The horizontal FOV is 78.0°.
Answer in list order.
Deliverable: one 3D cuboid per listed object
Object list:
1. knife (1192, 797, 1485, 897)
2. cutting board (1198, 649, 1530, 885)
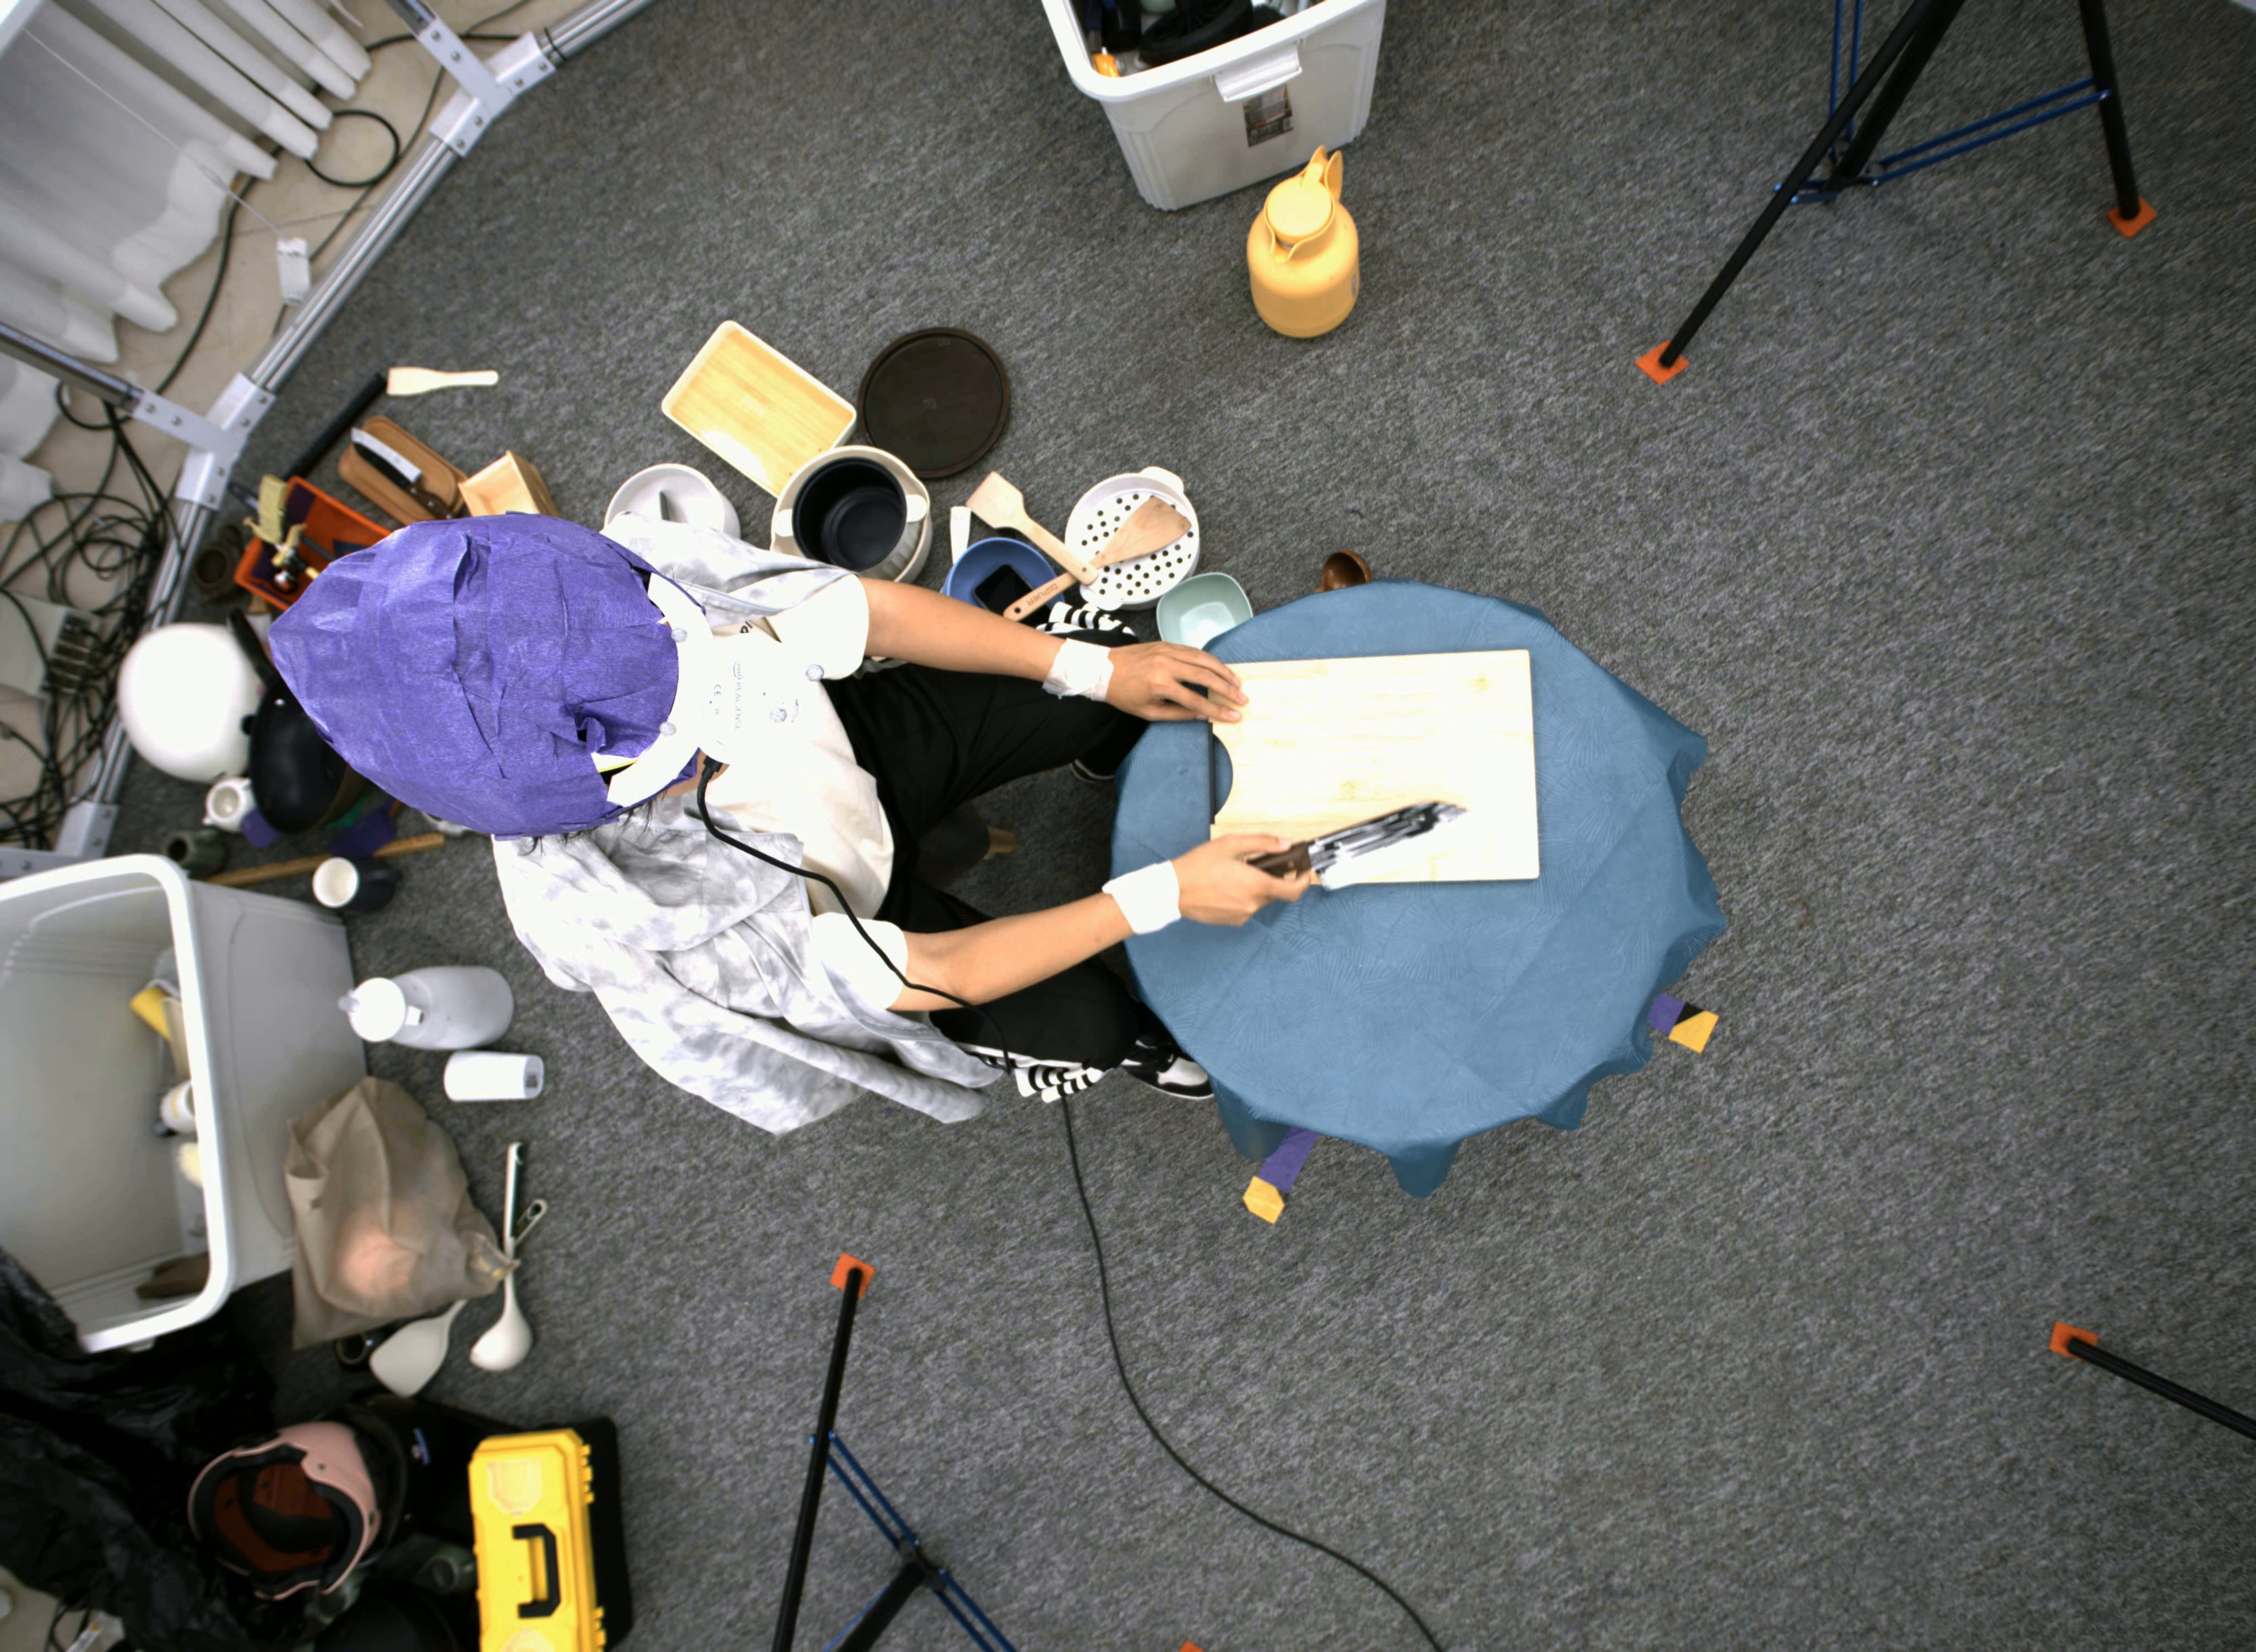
[{"bbox_3d":[0.214,0.027,1.407,0.302,0.023,0.069,-19,125,13],"label":"knife"},{"bbox_3d":[0.250,-0.062,1.461,0.350,0.023,0.249,-3,86,11],"label":"cutting board"}]
